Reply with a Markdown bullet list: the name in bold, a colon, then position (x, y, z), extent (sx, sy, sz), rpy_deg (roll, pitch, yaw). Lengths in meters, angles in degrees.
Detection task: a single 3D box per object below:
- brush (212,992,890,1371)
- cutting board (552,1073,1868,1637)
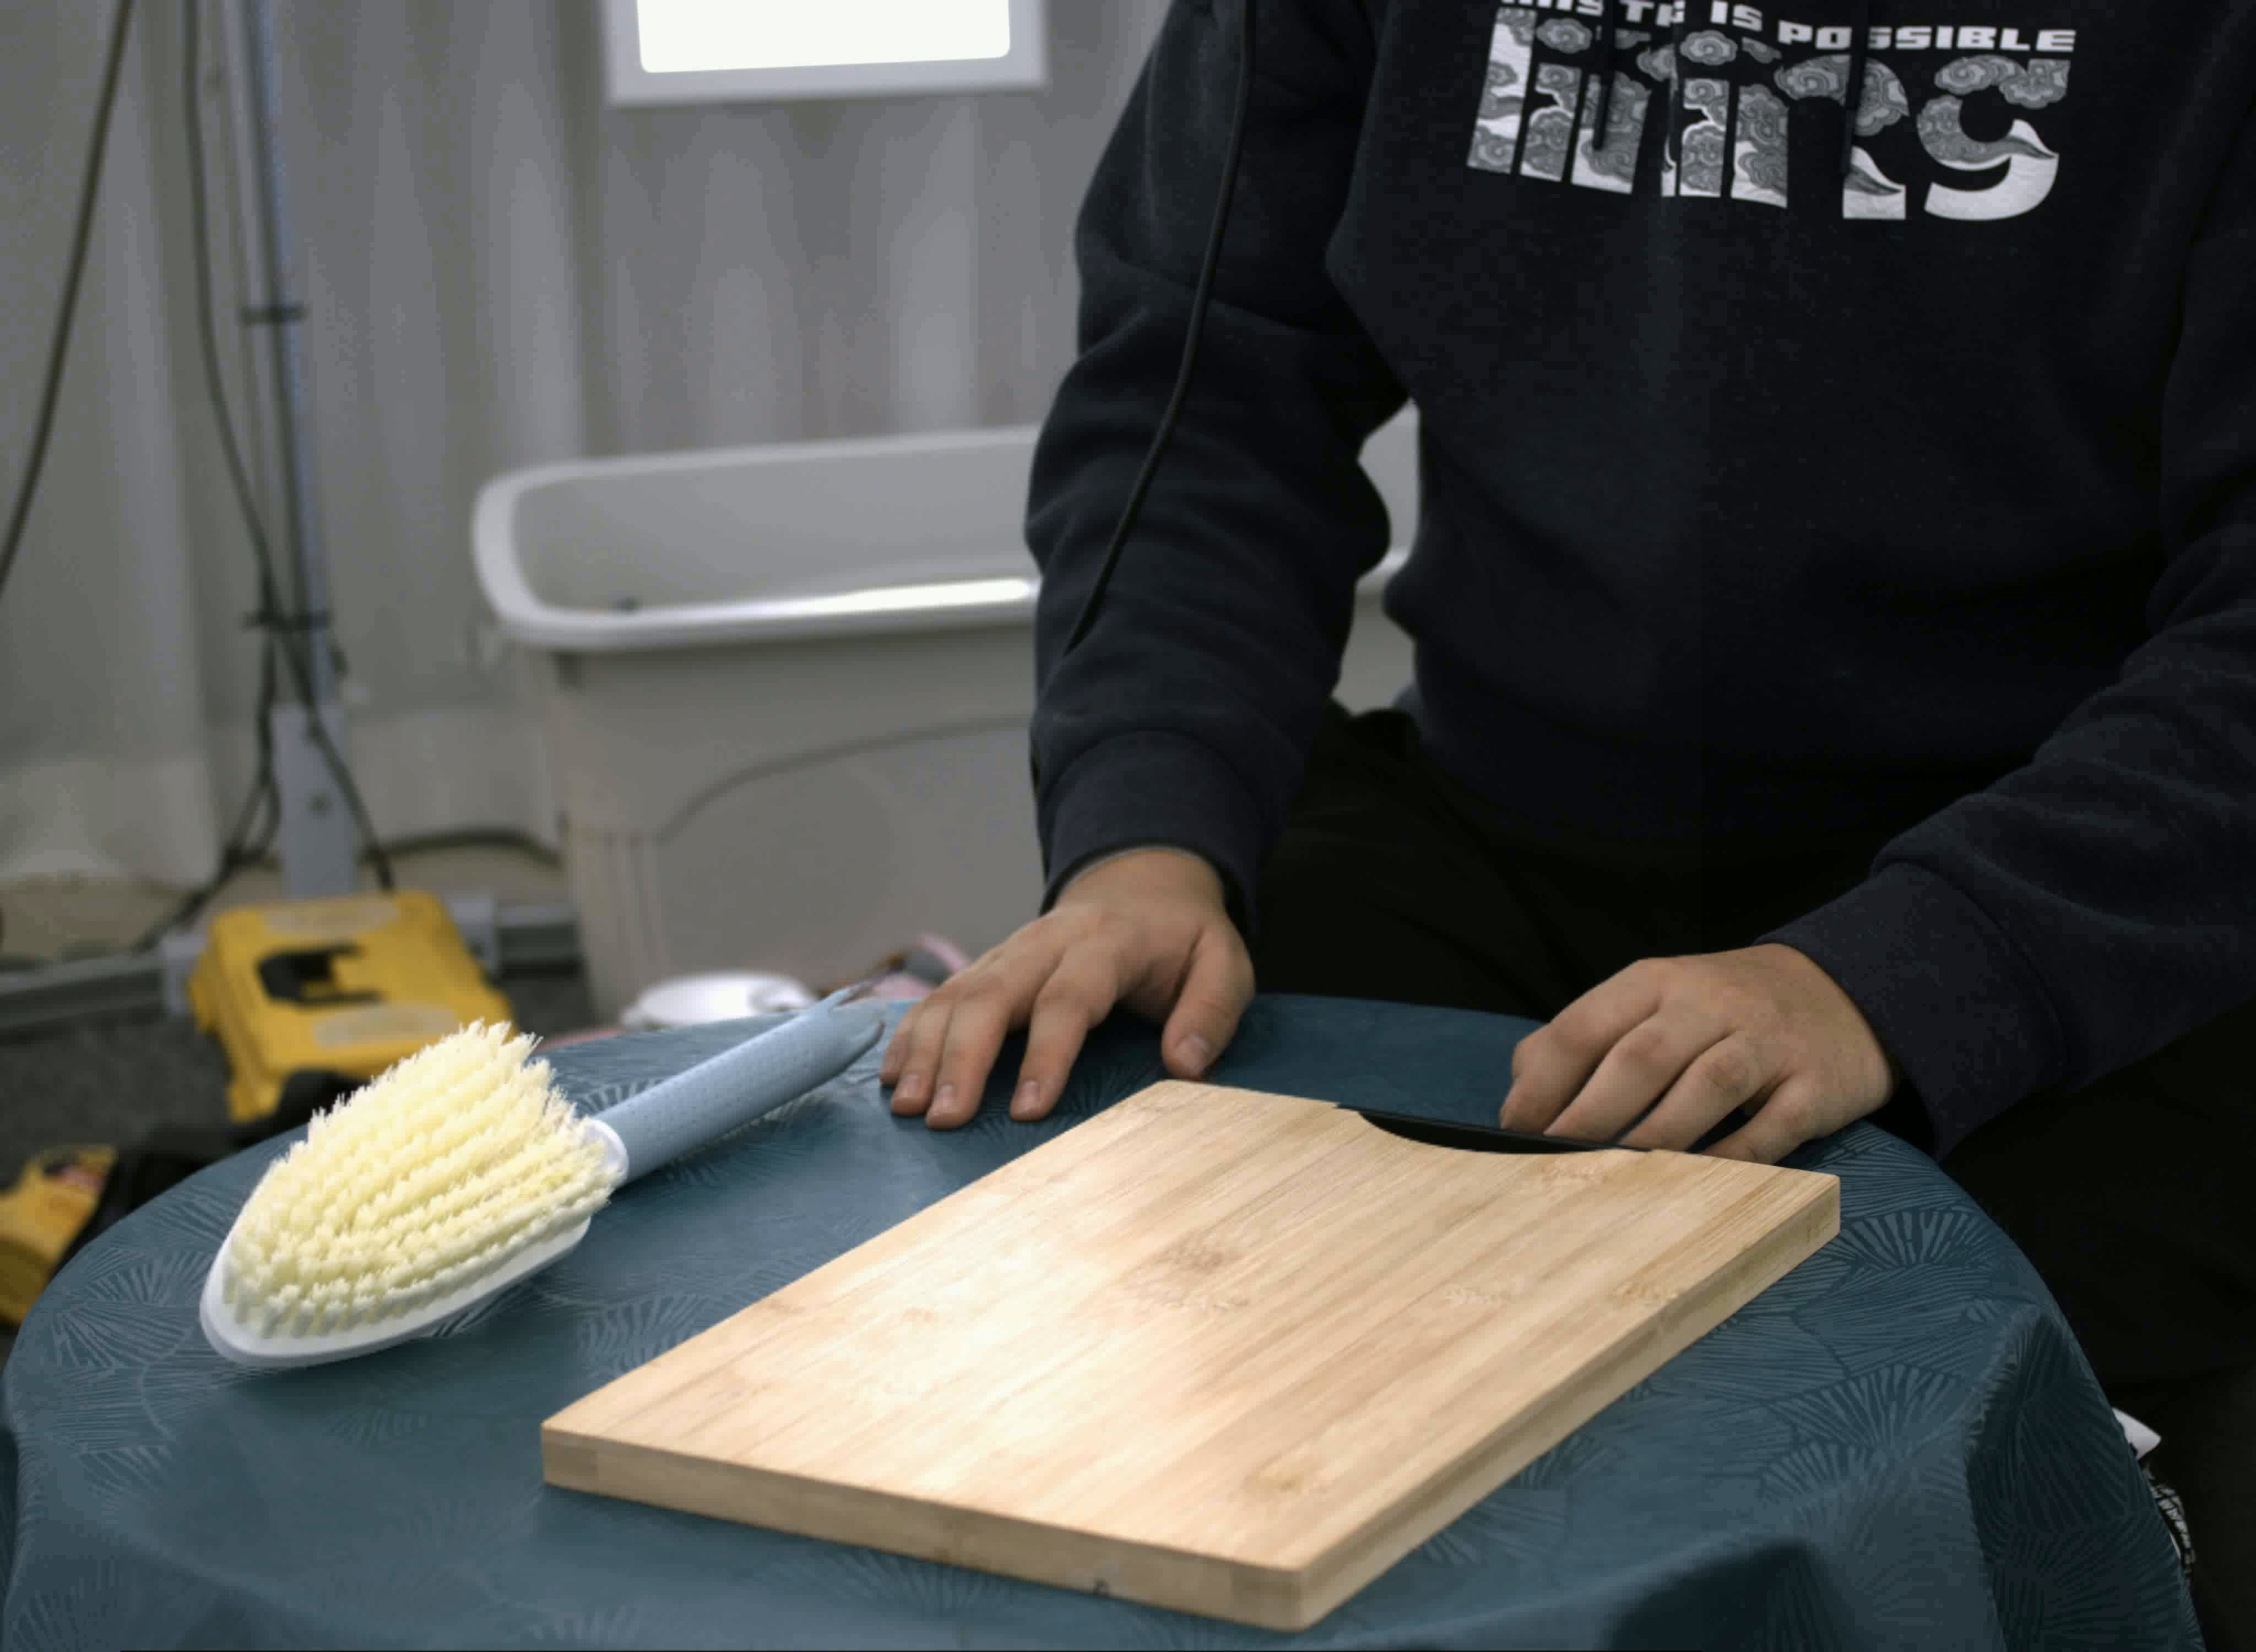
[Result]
- **brush**: position (-0.161, 0.085, 1.698), extent (0.084, 0.083, 0.325), rpy_deg (-3, 13, 35)
- **cutting board**: position (0.031, 0.142, 1.576), extent (0.251, 0.023, 0.349), rpy_deg (7, 17, 30)
